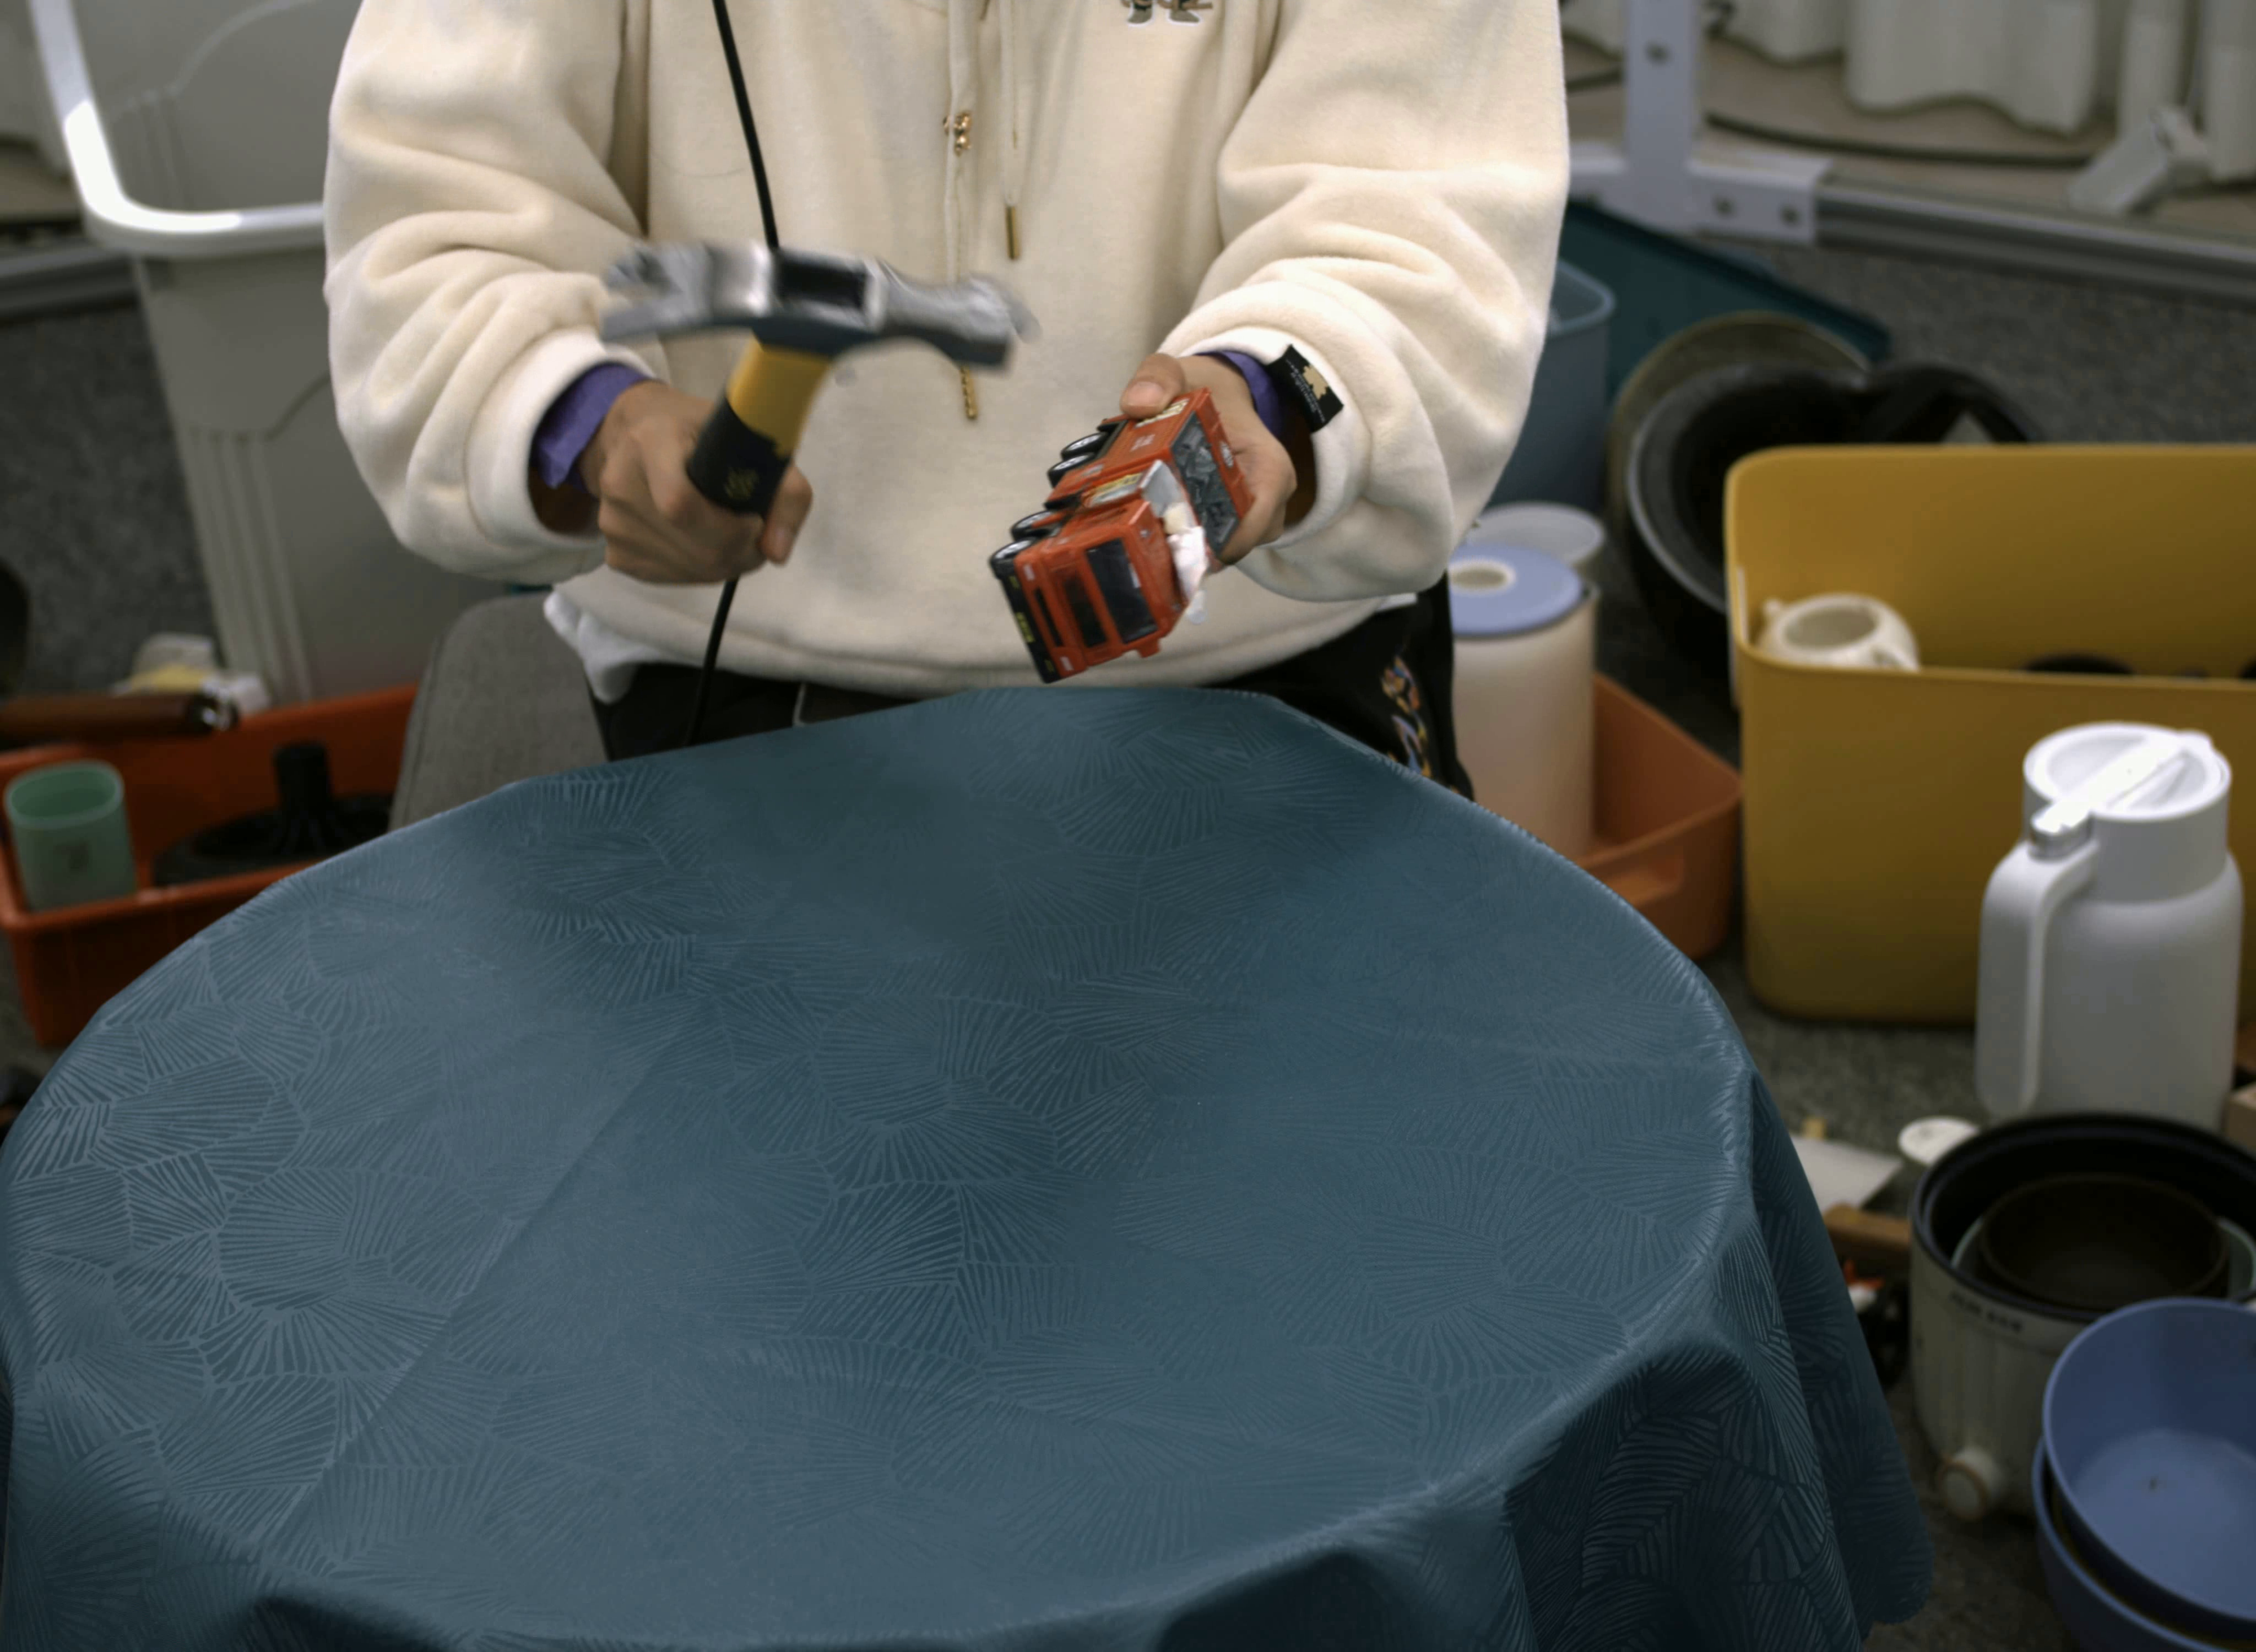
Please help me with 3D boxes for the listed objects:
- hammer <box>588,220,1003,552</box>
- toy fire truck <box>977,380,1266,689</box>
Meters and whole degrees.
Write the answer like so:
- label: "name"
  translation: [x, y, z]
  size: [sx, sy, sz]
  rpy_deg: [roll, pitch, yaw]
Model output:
- label: "hammer"
  translation: [-0.132, -0.150, 1.977]
  size: [0.131, 0.032, 0.335]
  rpy_deg: [7, -13, -9]
- label: "toy fire truck"
  translation: [0.002, -0.098, 1.868]
  size: [0.069, 0.054, 0.170]
  rpy_deg: [-18, 16, 16]
